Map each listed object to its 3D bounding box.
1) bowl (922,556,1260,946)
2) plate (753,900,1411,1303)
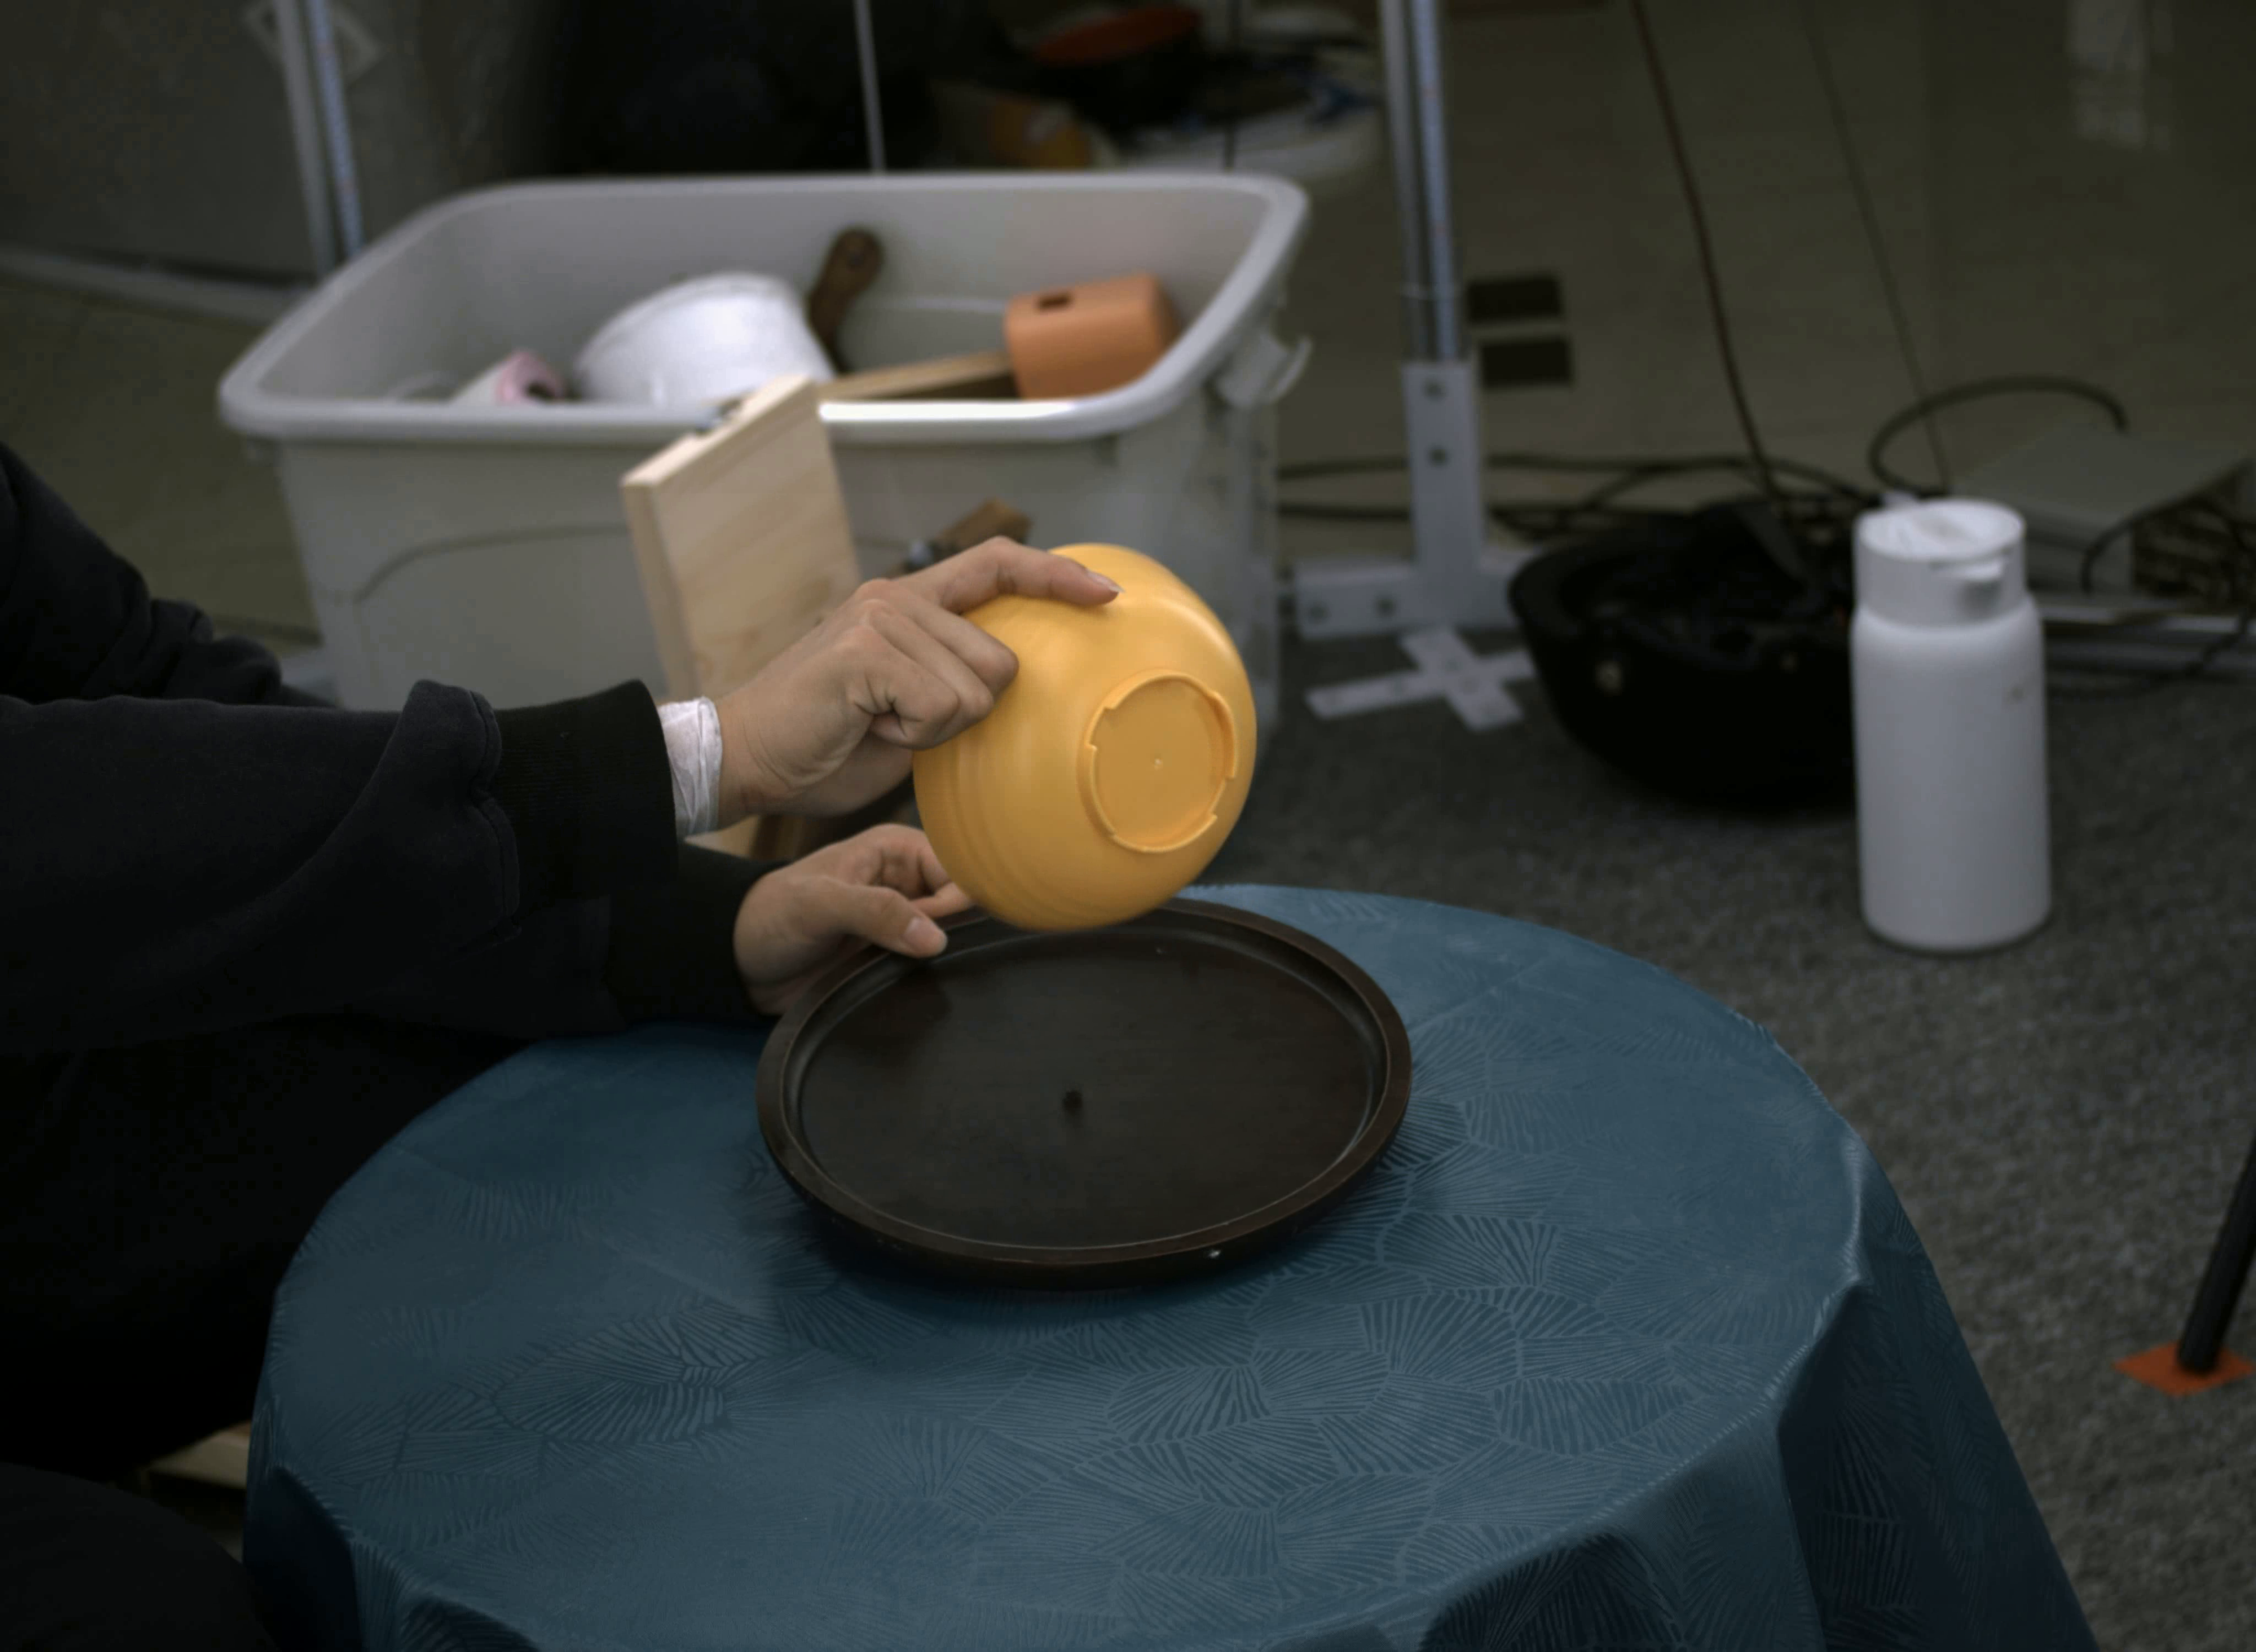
[{"bbox_3d":[-0.001,-0.026,2.068,0.144,0.147,0.060,-24,20,-33],"label":"bowl"},{"bbox_3d":[-0.017,0.102,2.174,0.254,0.029,0.250,-2,34,2],"label":"plate"}]
